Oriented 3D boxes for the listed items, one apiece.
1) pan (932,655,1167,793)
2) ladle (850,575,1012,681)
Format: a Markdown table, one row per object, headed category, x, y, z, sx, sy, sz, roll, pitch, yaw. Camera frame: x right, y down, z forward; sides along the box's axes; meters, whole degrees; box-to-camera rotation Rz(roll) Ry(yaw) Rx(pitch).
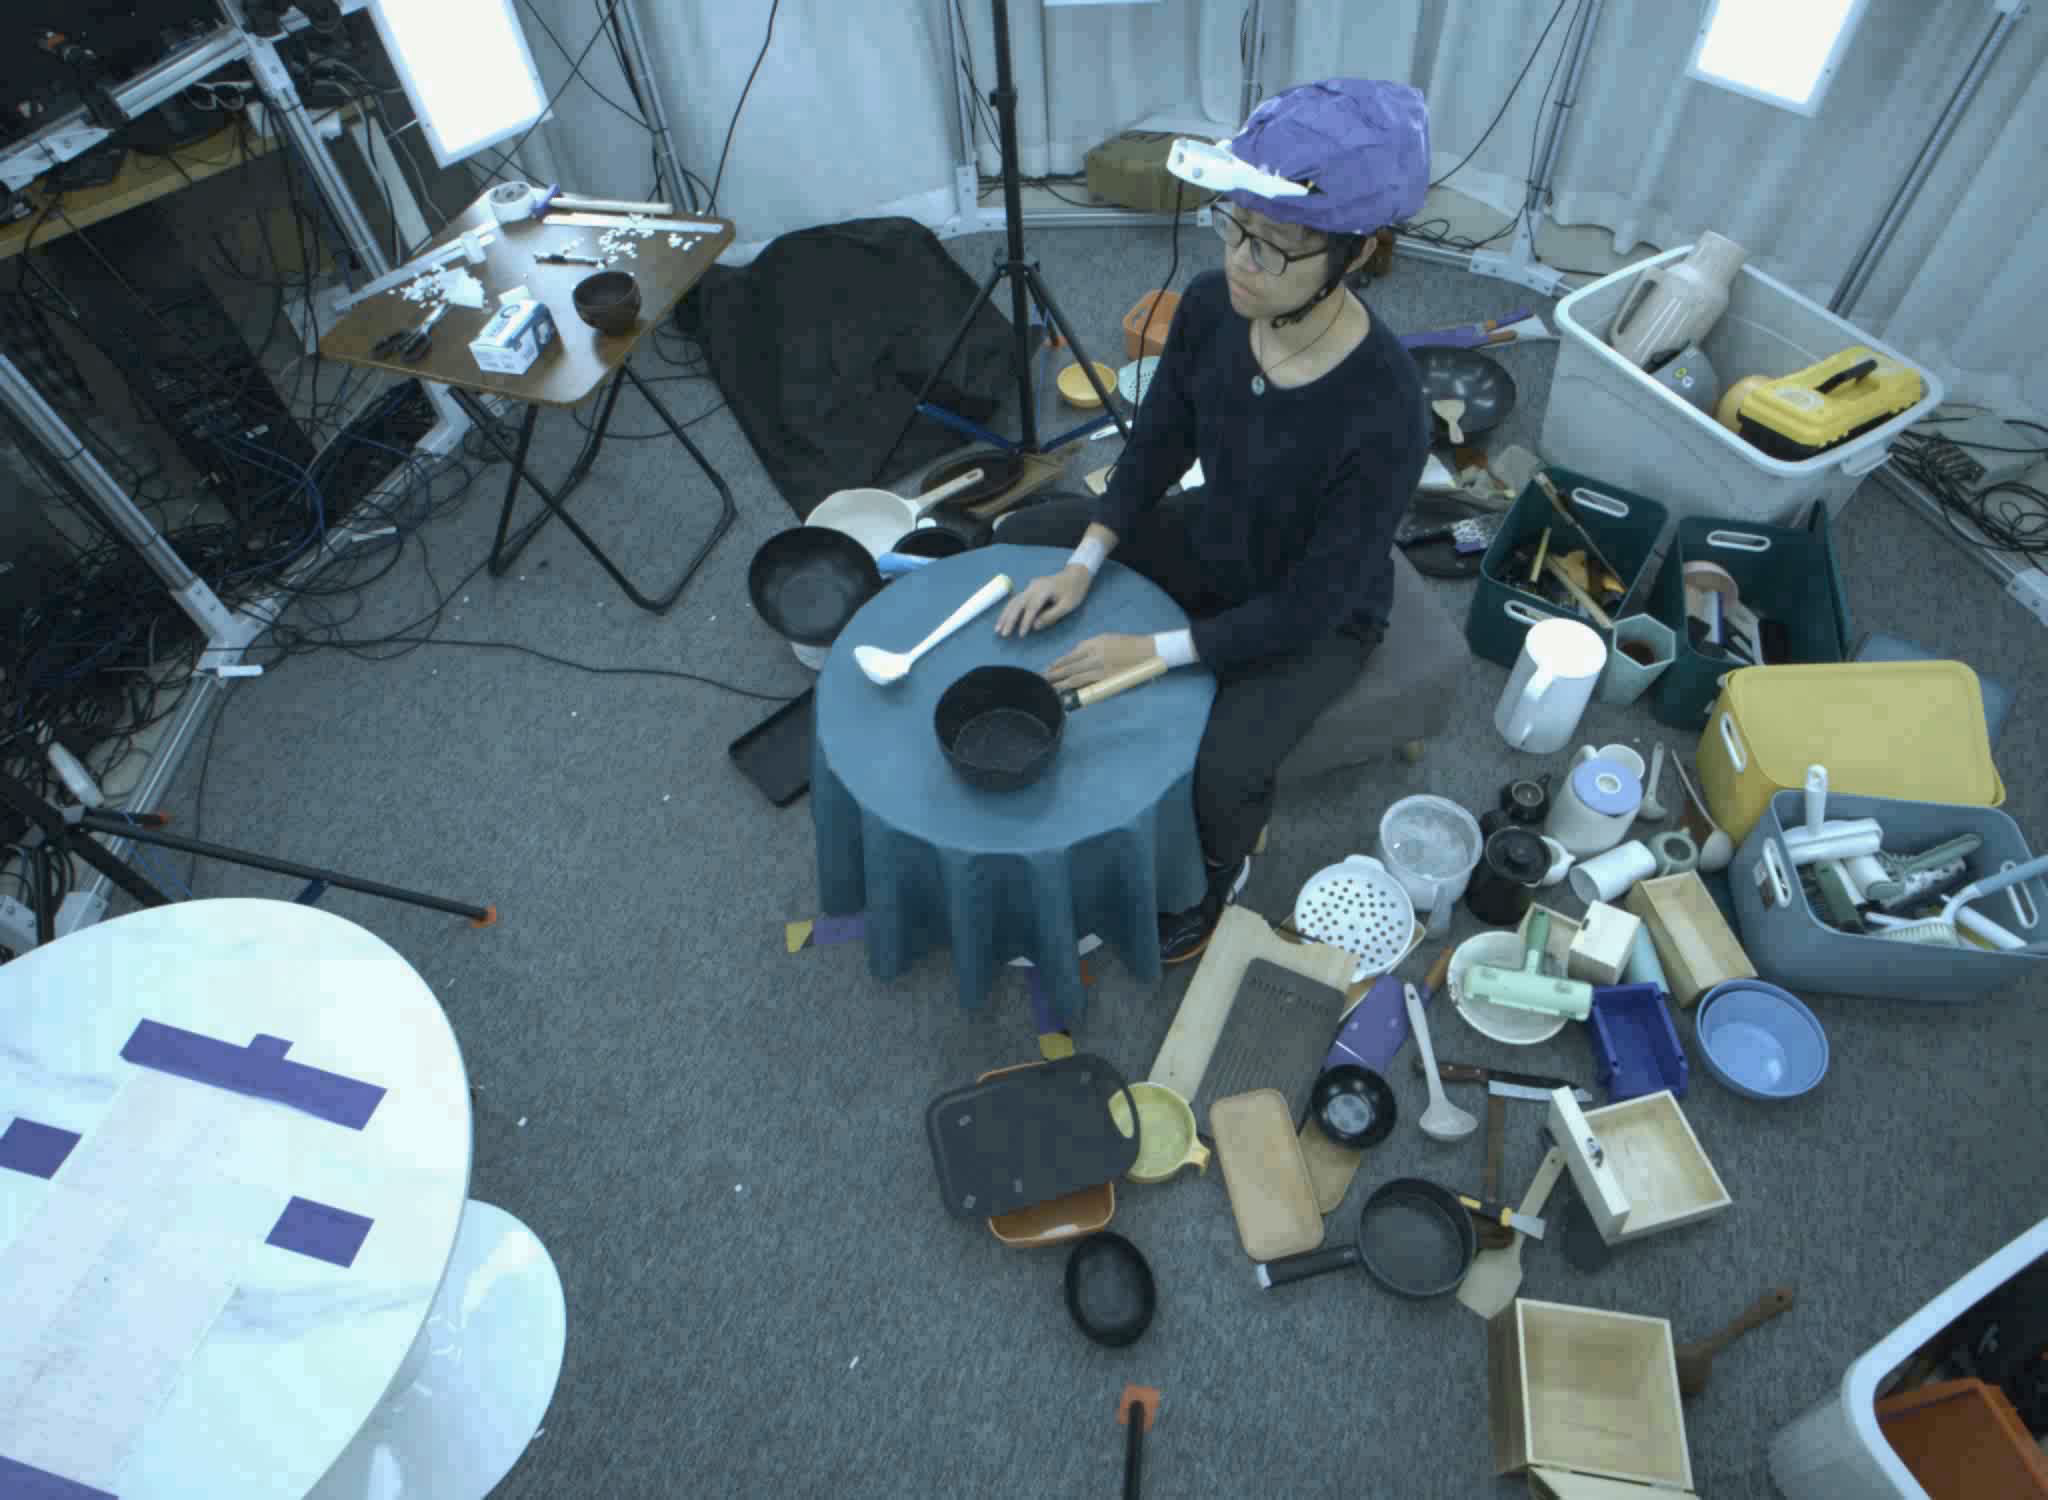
| category | x | y | z | sx | sy | sz | roll | pitch | yaw |
| --- | --- | --- | --- | --- | --- | --- | --- | --- | --- |
| pan | 0.041 | -0.054 | 1.757 | 0.344 | 0.109 | 0.204 | -18 | 55 | -8 |
| ladle | -0.138 | -0.197 | 1.892 | 0.295 | 0.071 | 0.088 | -38 | 55 | -23 |
